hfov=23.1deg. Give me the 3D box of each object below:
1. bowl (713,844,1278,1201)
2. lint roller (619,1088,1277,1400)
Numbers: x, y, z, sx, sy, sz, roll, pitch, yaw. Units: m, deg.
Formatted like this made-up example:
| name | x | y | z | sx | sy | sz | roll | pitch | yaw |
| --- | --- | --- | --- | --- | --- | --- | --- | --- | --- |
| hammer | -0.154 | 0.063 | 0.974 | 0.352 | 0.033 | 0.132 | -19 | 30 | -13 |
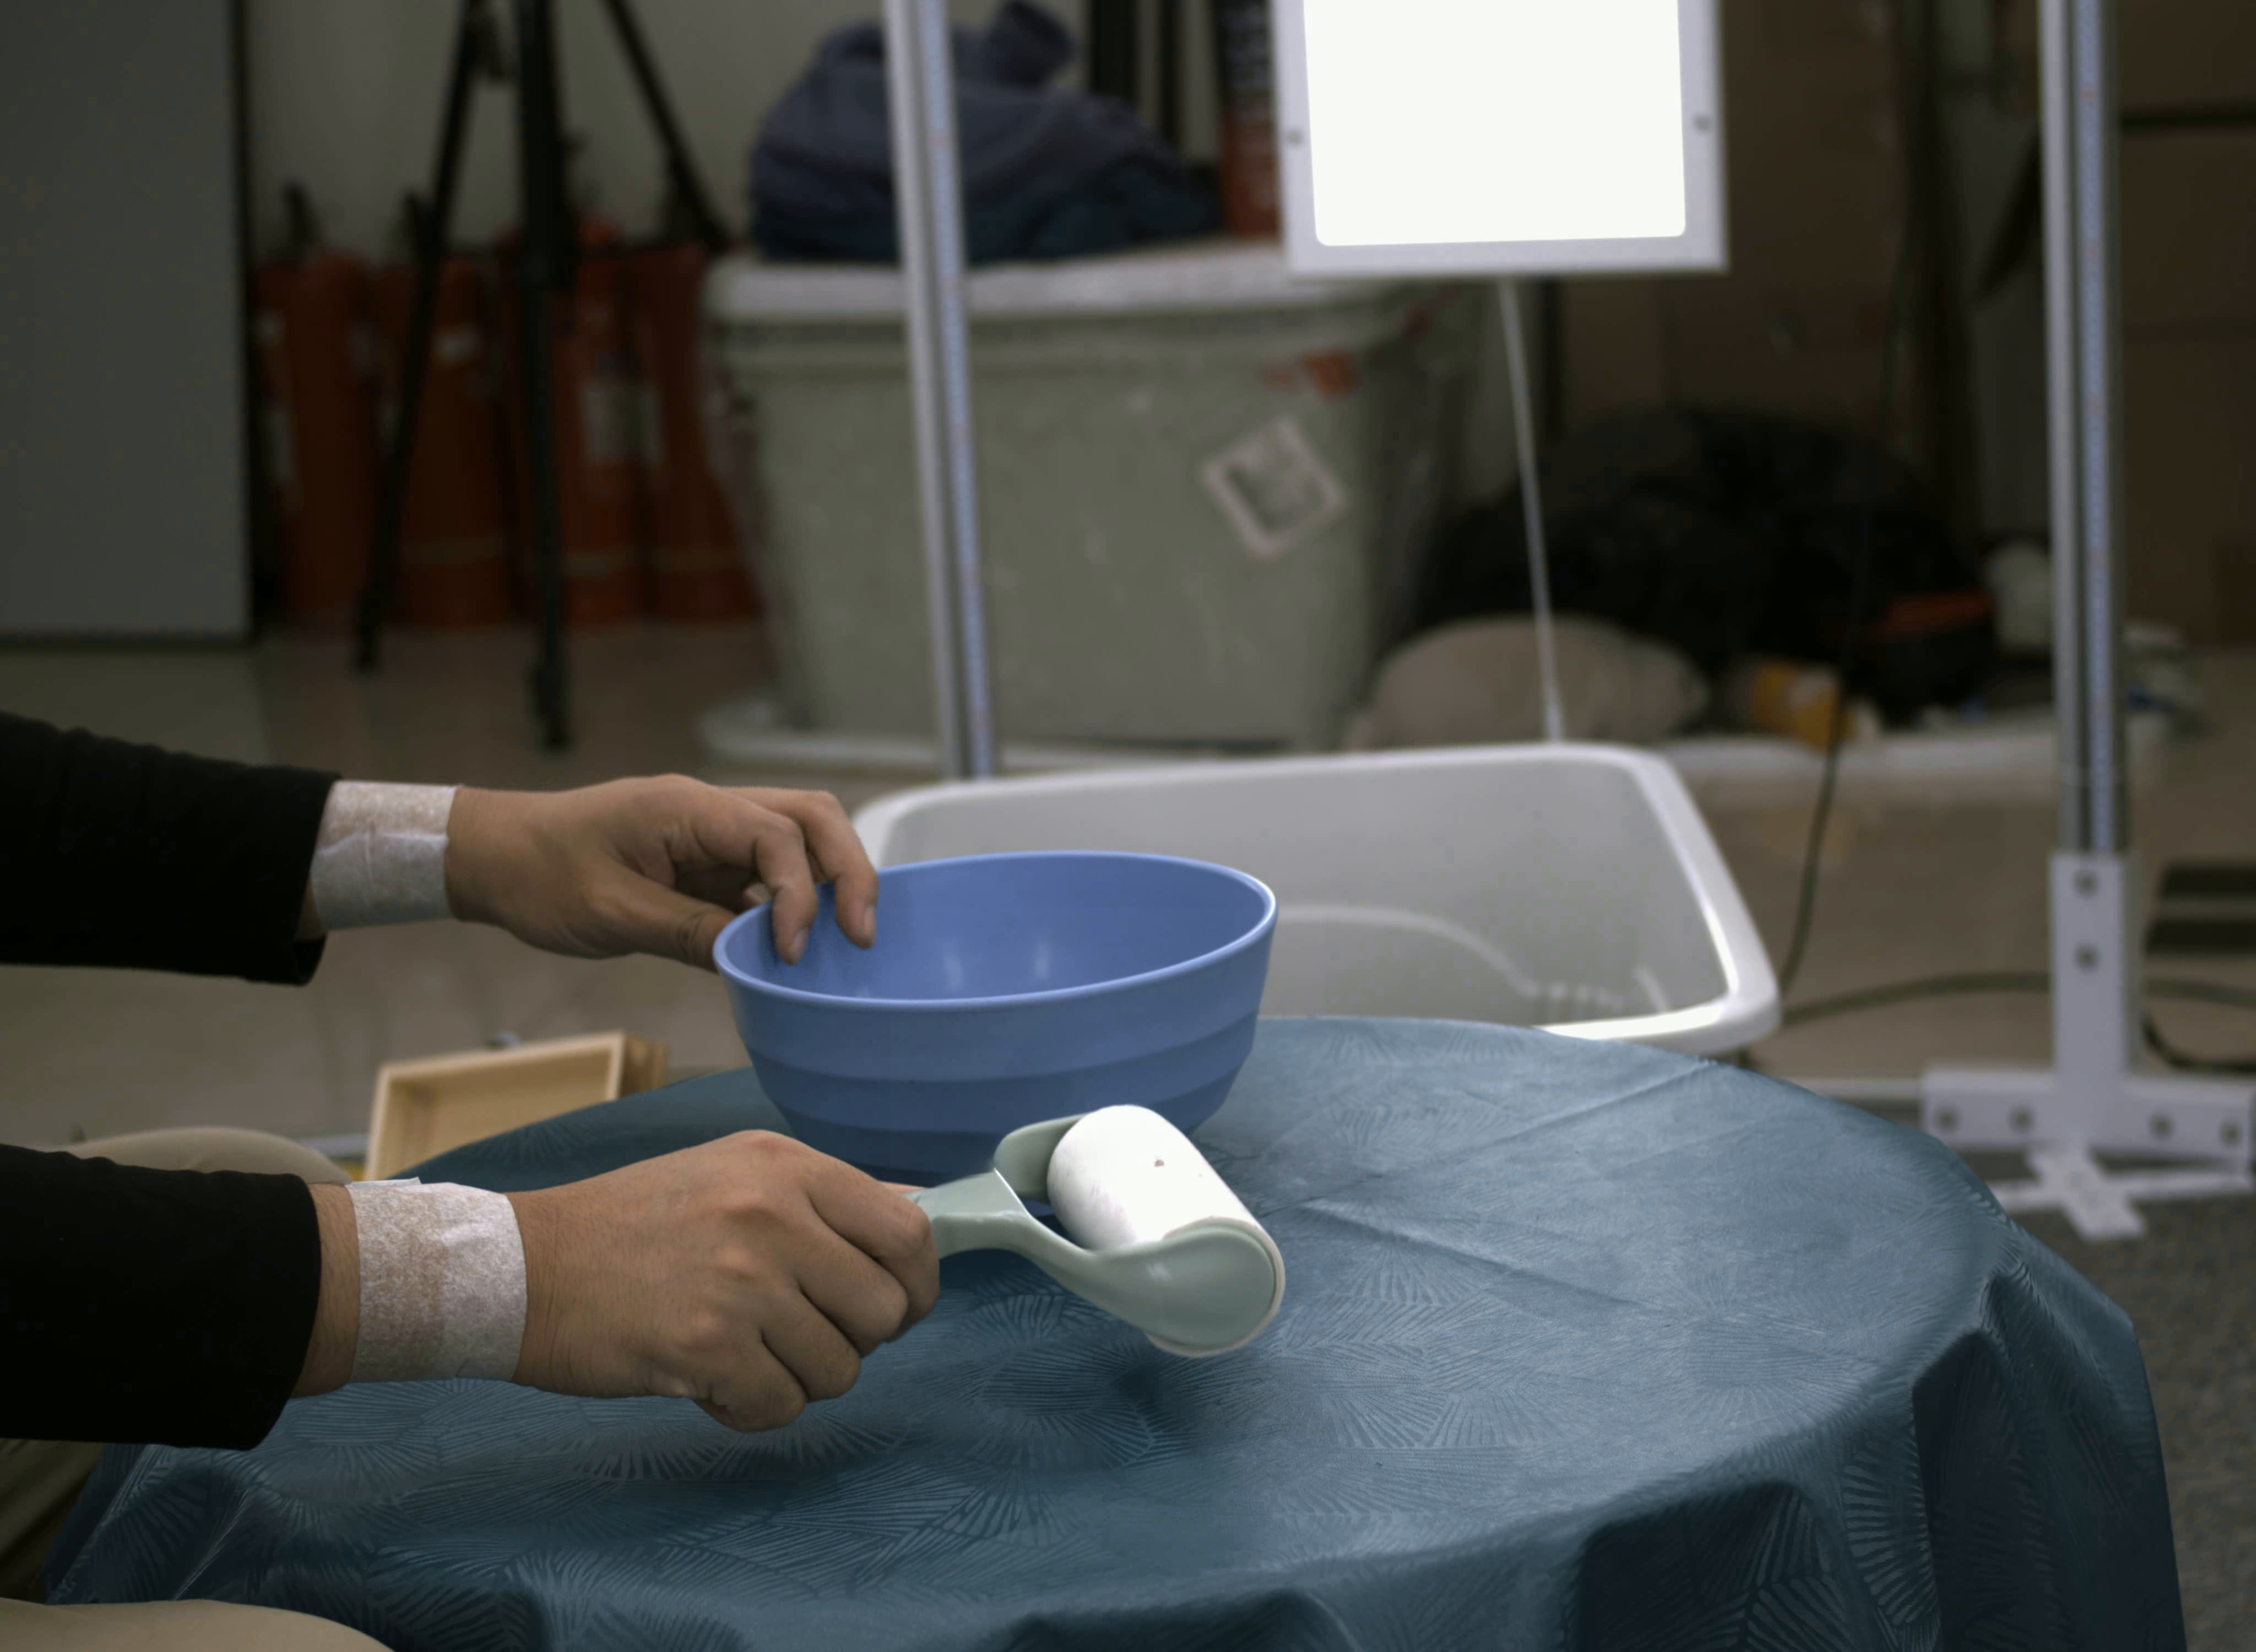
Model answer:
| name | x | y | z | sx | sy | sz | roll | pitch | yaw |
| --- | --- | --- | --- | --- | --- | --- | --- | --- | --- |
| bowl | -0.043 | 0.077 | 1.912 | 0.196 | 0.096 | 0.196 | -5 | 15 | 0 |
| lint roller | -0.062 | 0.132 | 1.688 | 0.195 | 0.049 | 0.117 | -10 | 20 | -12 |
